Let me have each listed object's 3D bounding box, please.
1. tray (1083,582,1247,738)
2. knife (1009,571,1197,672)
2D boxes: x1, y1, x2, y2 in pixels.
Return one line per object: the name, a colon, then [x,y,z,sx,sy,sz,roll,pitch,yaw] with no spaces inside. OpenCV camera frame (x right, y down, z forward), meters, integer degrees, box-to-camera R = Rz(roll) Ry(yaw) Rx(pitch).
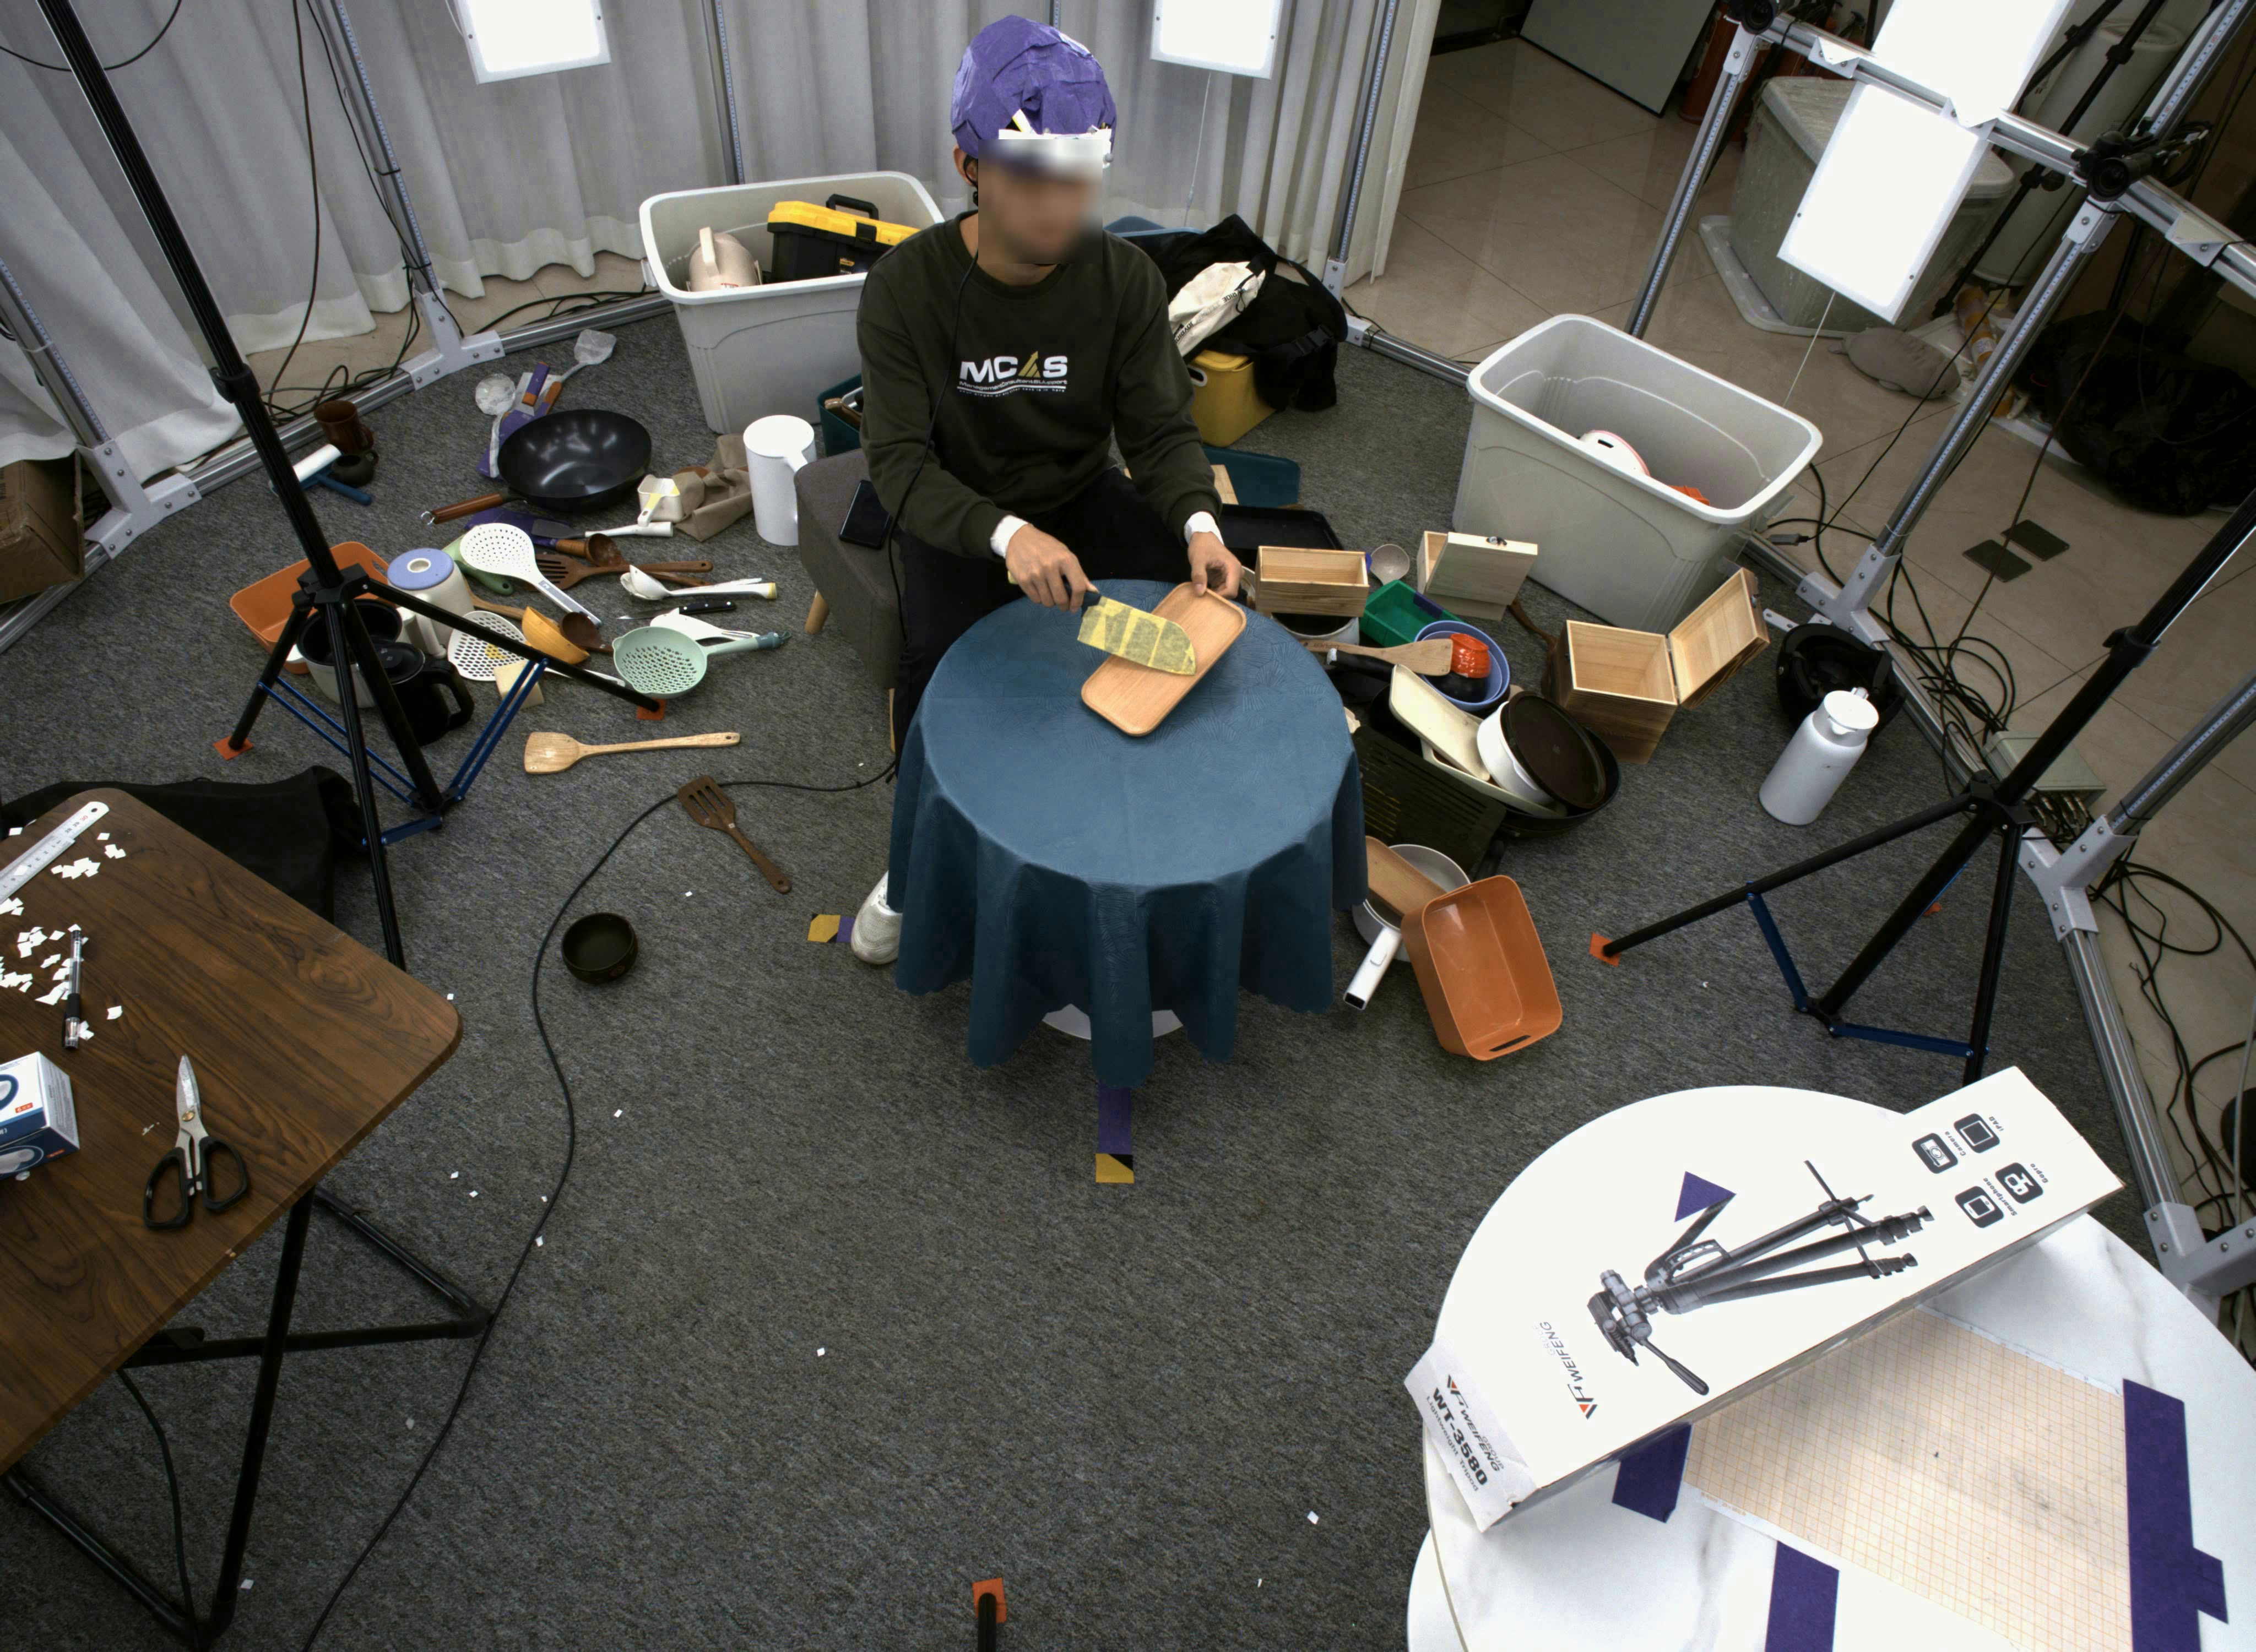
tray: [0.053,-0.236,1.818,0.132,0.022,0.252,35,74,27]
knife: [-0.037,-0.286,1.799,0.290,0.080,0.027,24,21,5]
